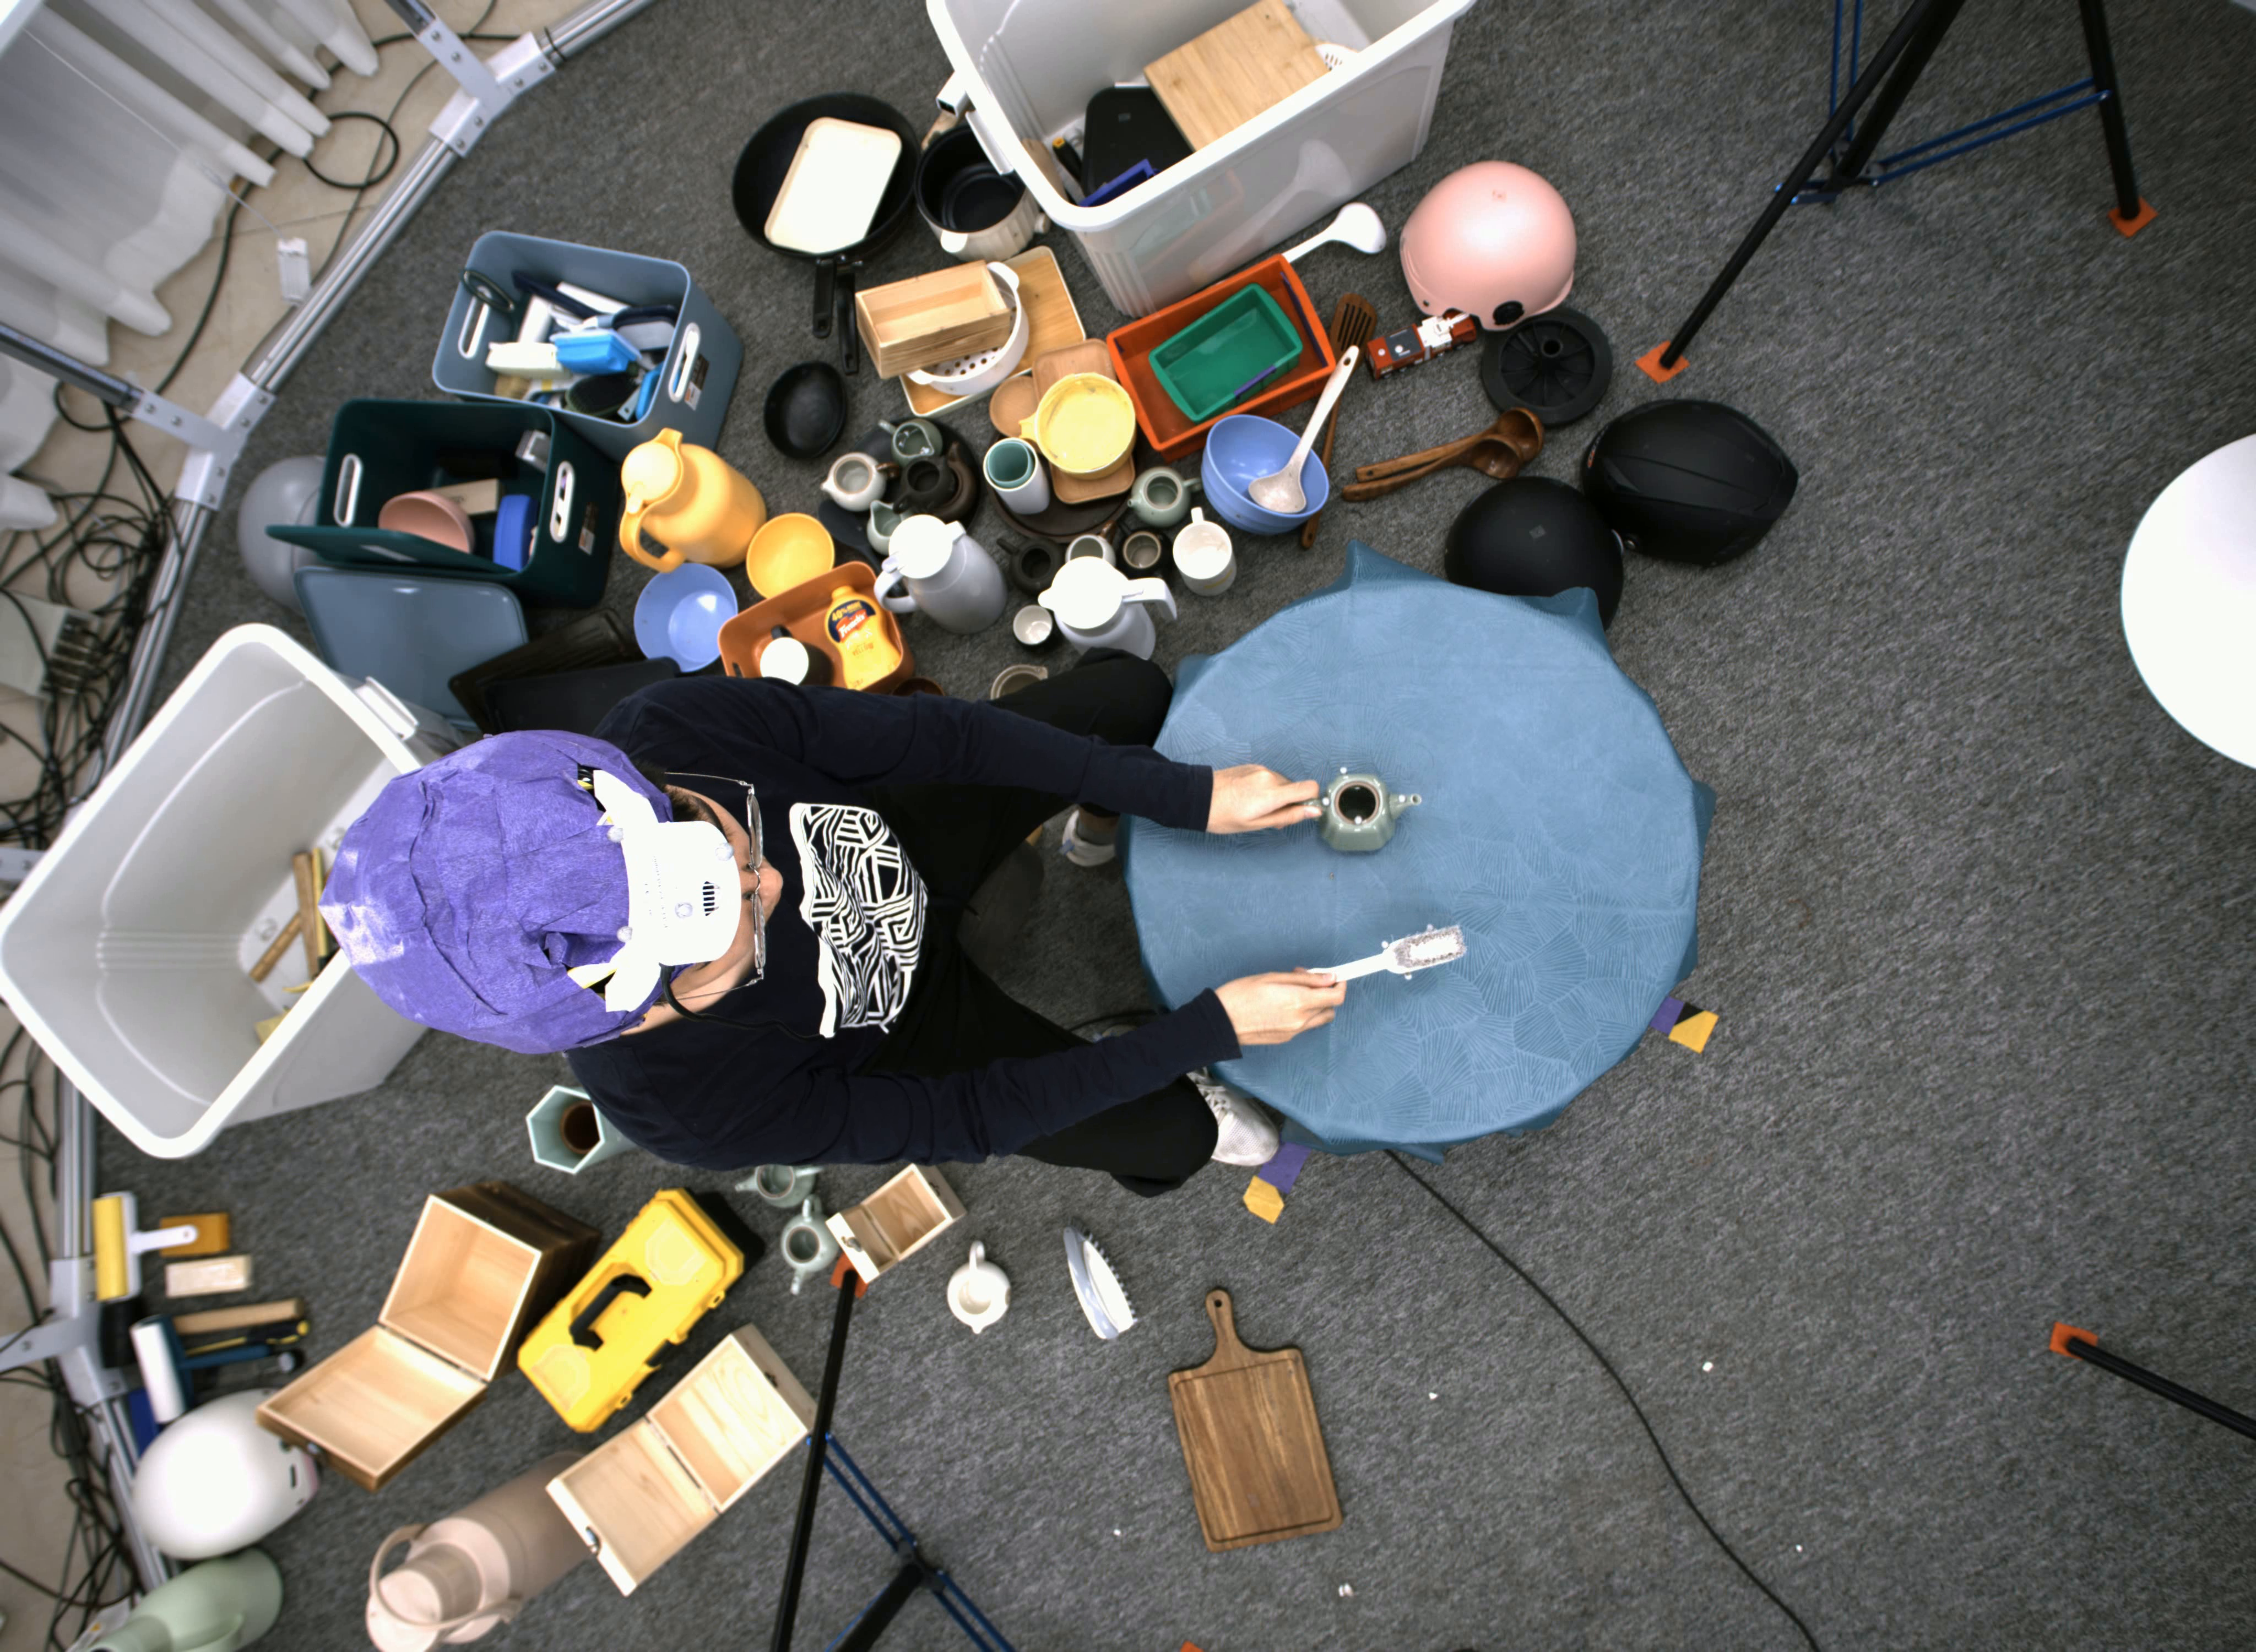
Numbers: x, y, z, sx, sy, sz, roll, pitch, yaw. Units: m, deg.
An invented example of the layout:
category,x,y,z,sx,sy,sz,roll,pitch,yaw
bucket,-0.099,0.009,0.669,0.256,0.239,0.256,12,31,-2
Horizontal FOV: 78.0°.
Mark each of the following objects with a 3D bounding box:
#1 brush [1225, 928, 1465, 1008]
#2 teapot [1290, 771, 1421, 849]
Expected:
category,x,y,z,sx,sy,sz,roll,pitch,yaw
brush,0.213,0.143,1.379,0.245,0.050,0.034,-14,81,9
teapot,0.235,-0.021,1.430,0.133,0.076,0.079,-3,78,9
